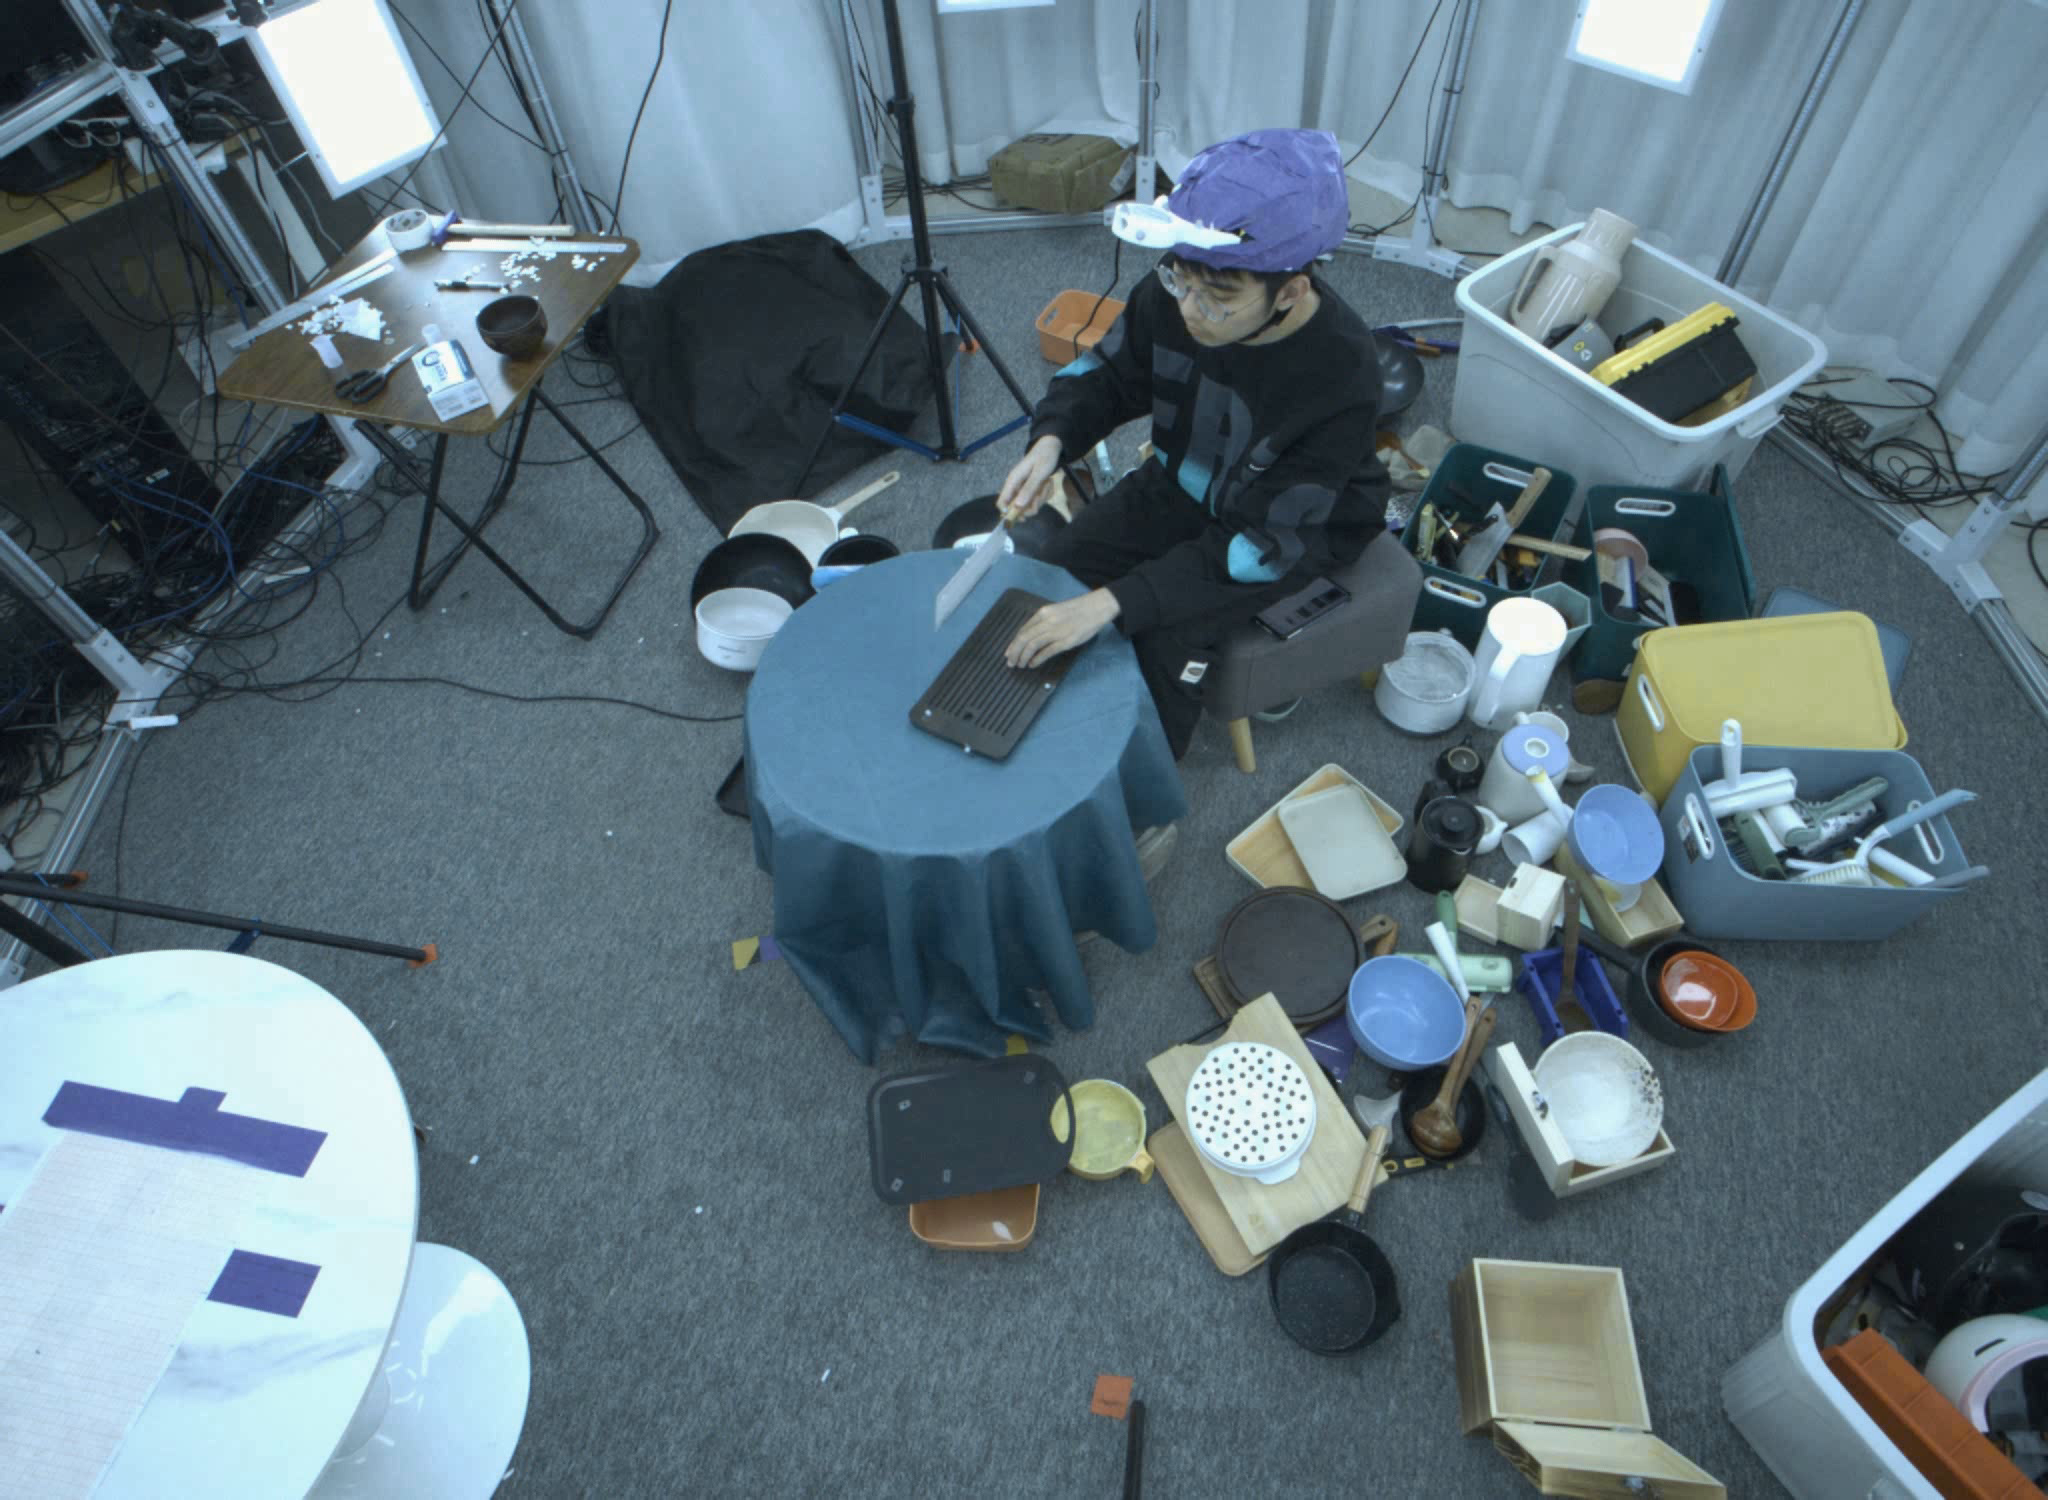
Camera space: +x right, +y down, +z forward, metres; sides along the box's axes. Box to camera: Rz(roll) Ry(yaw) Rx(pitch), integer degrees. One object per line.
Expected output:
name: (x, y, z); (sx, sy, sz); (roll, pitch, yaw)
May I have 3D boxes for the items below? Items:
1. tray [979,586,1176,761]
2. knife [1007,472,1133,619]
tray: (0.083, -0.119, 1.857); (0.167, 0.019, 0.307); (28, 61, 21)
knife: (0.068, -0.308, 1.861); (0.021, 0.093, 0.307); (35, 64, 13)
